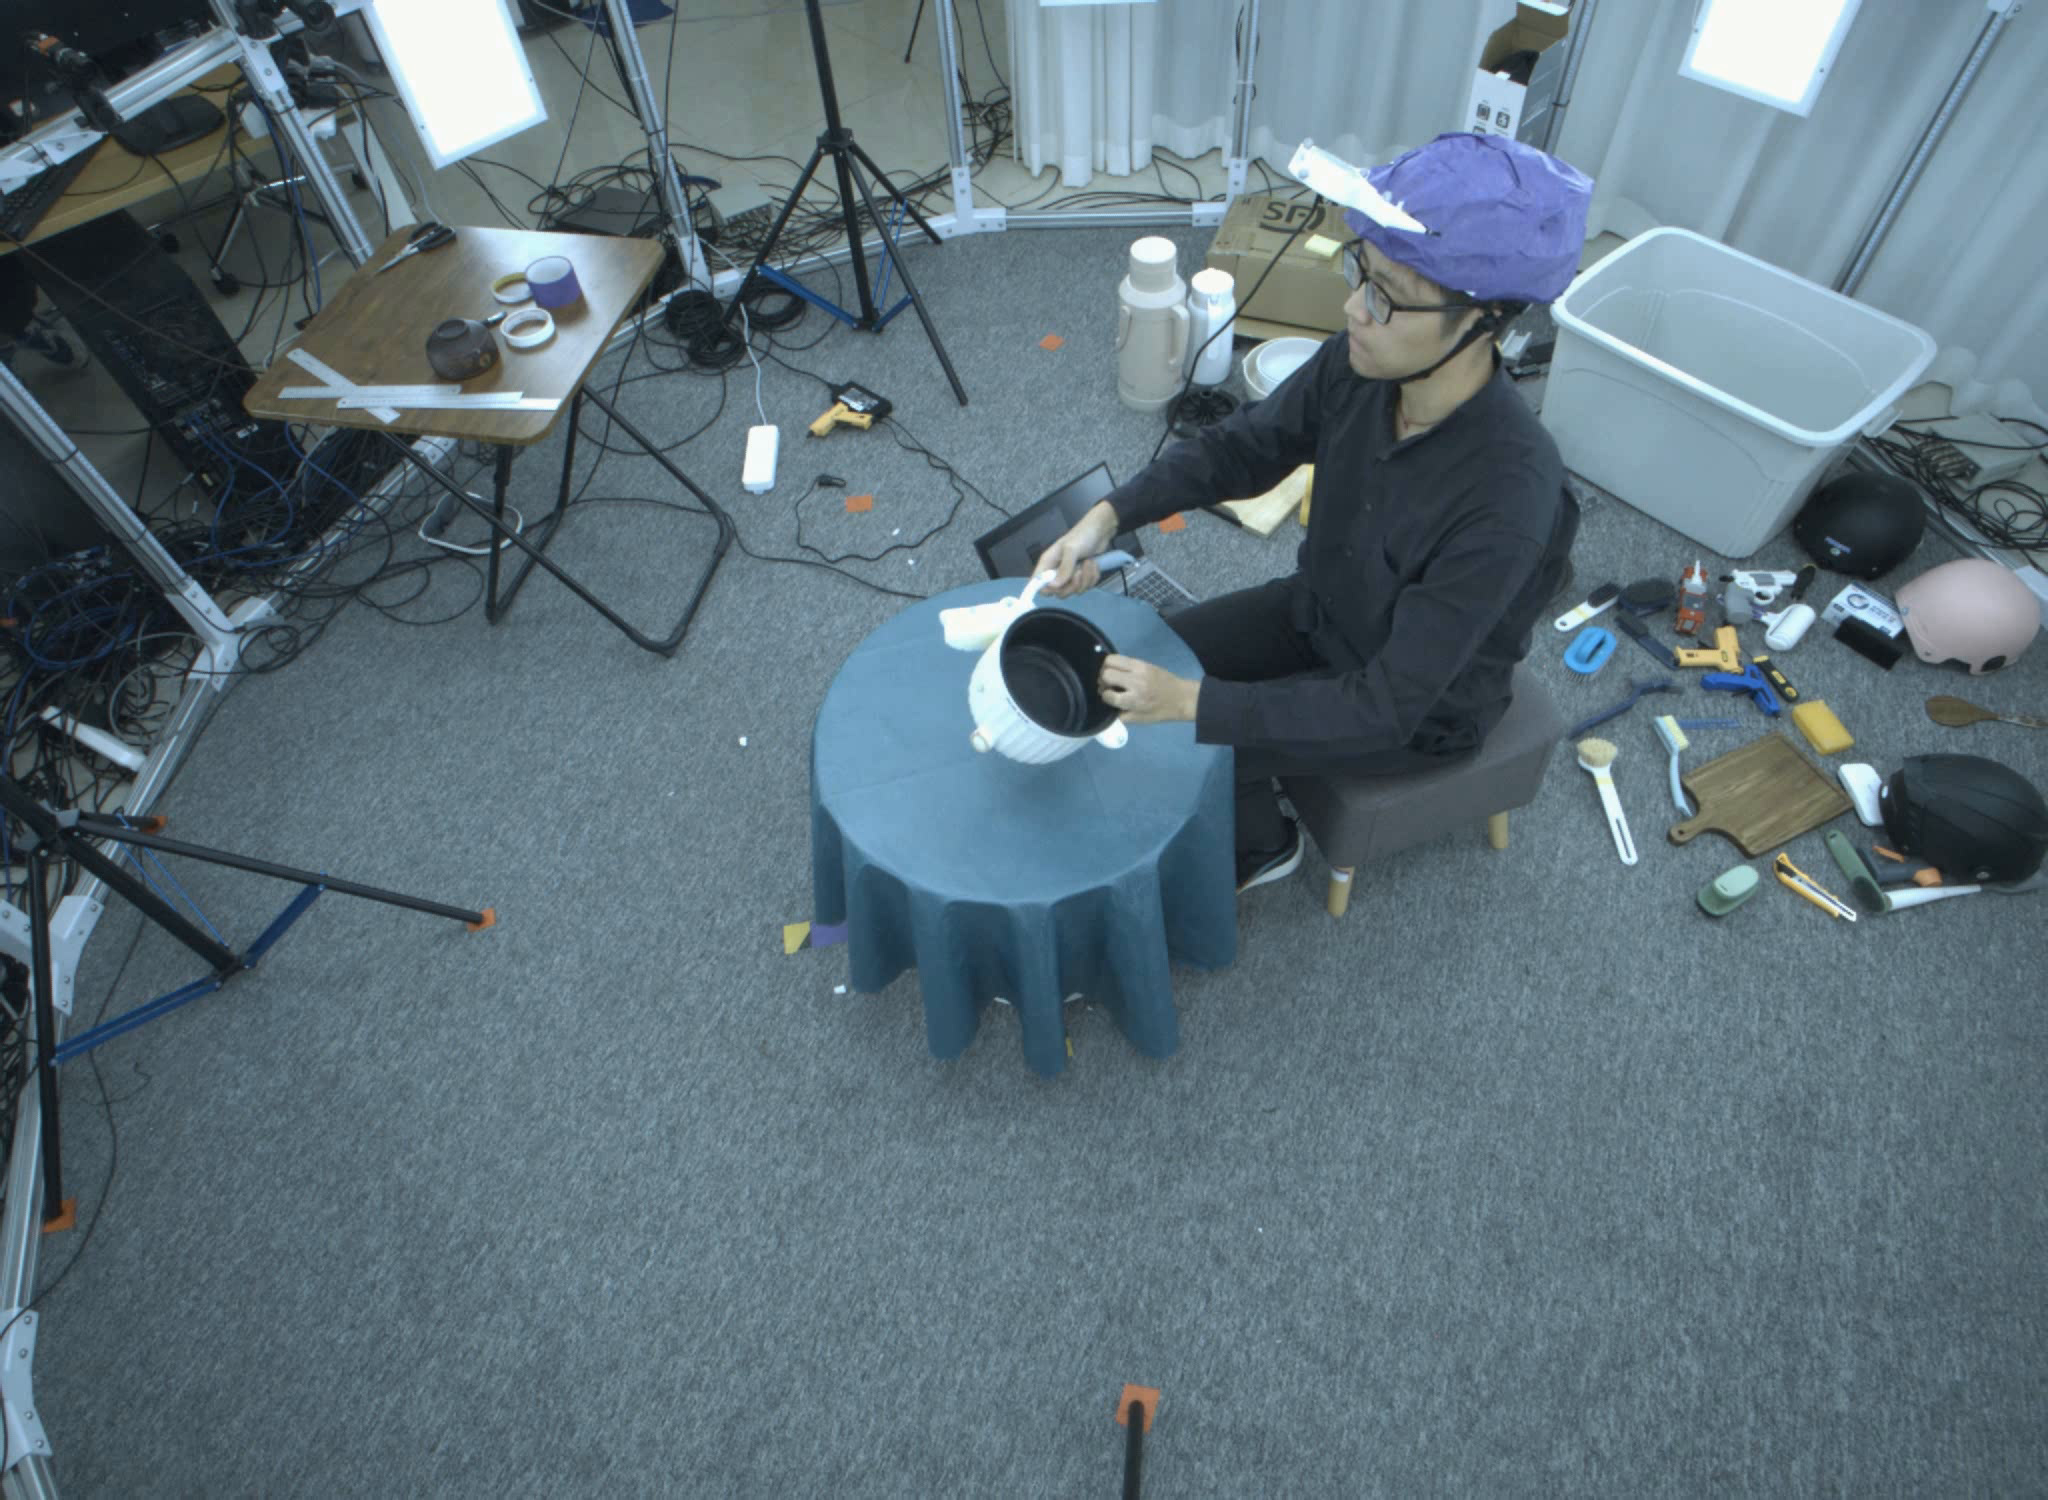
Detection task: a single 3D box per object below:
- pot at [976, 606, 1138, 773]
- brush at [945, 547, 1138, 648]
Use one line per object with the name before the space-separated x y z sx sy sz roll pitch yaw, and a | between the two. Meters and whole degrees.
pot | 0.030 -0.060 1.595 0.241 0.141 0.192 49 52 -2
brush | 0.043 -0.200 1.675 0.330 0.085 0.081 -22 22 -30
